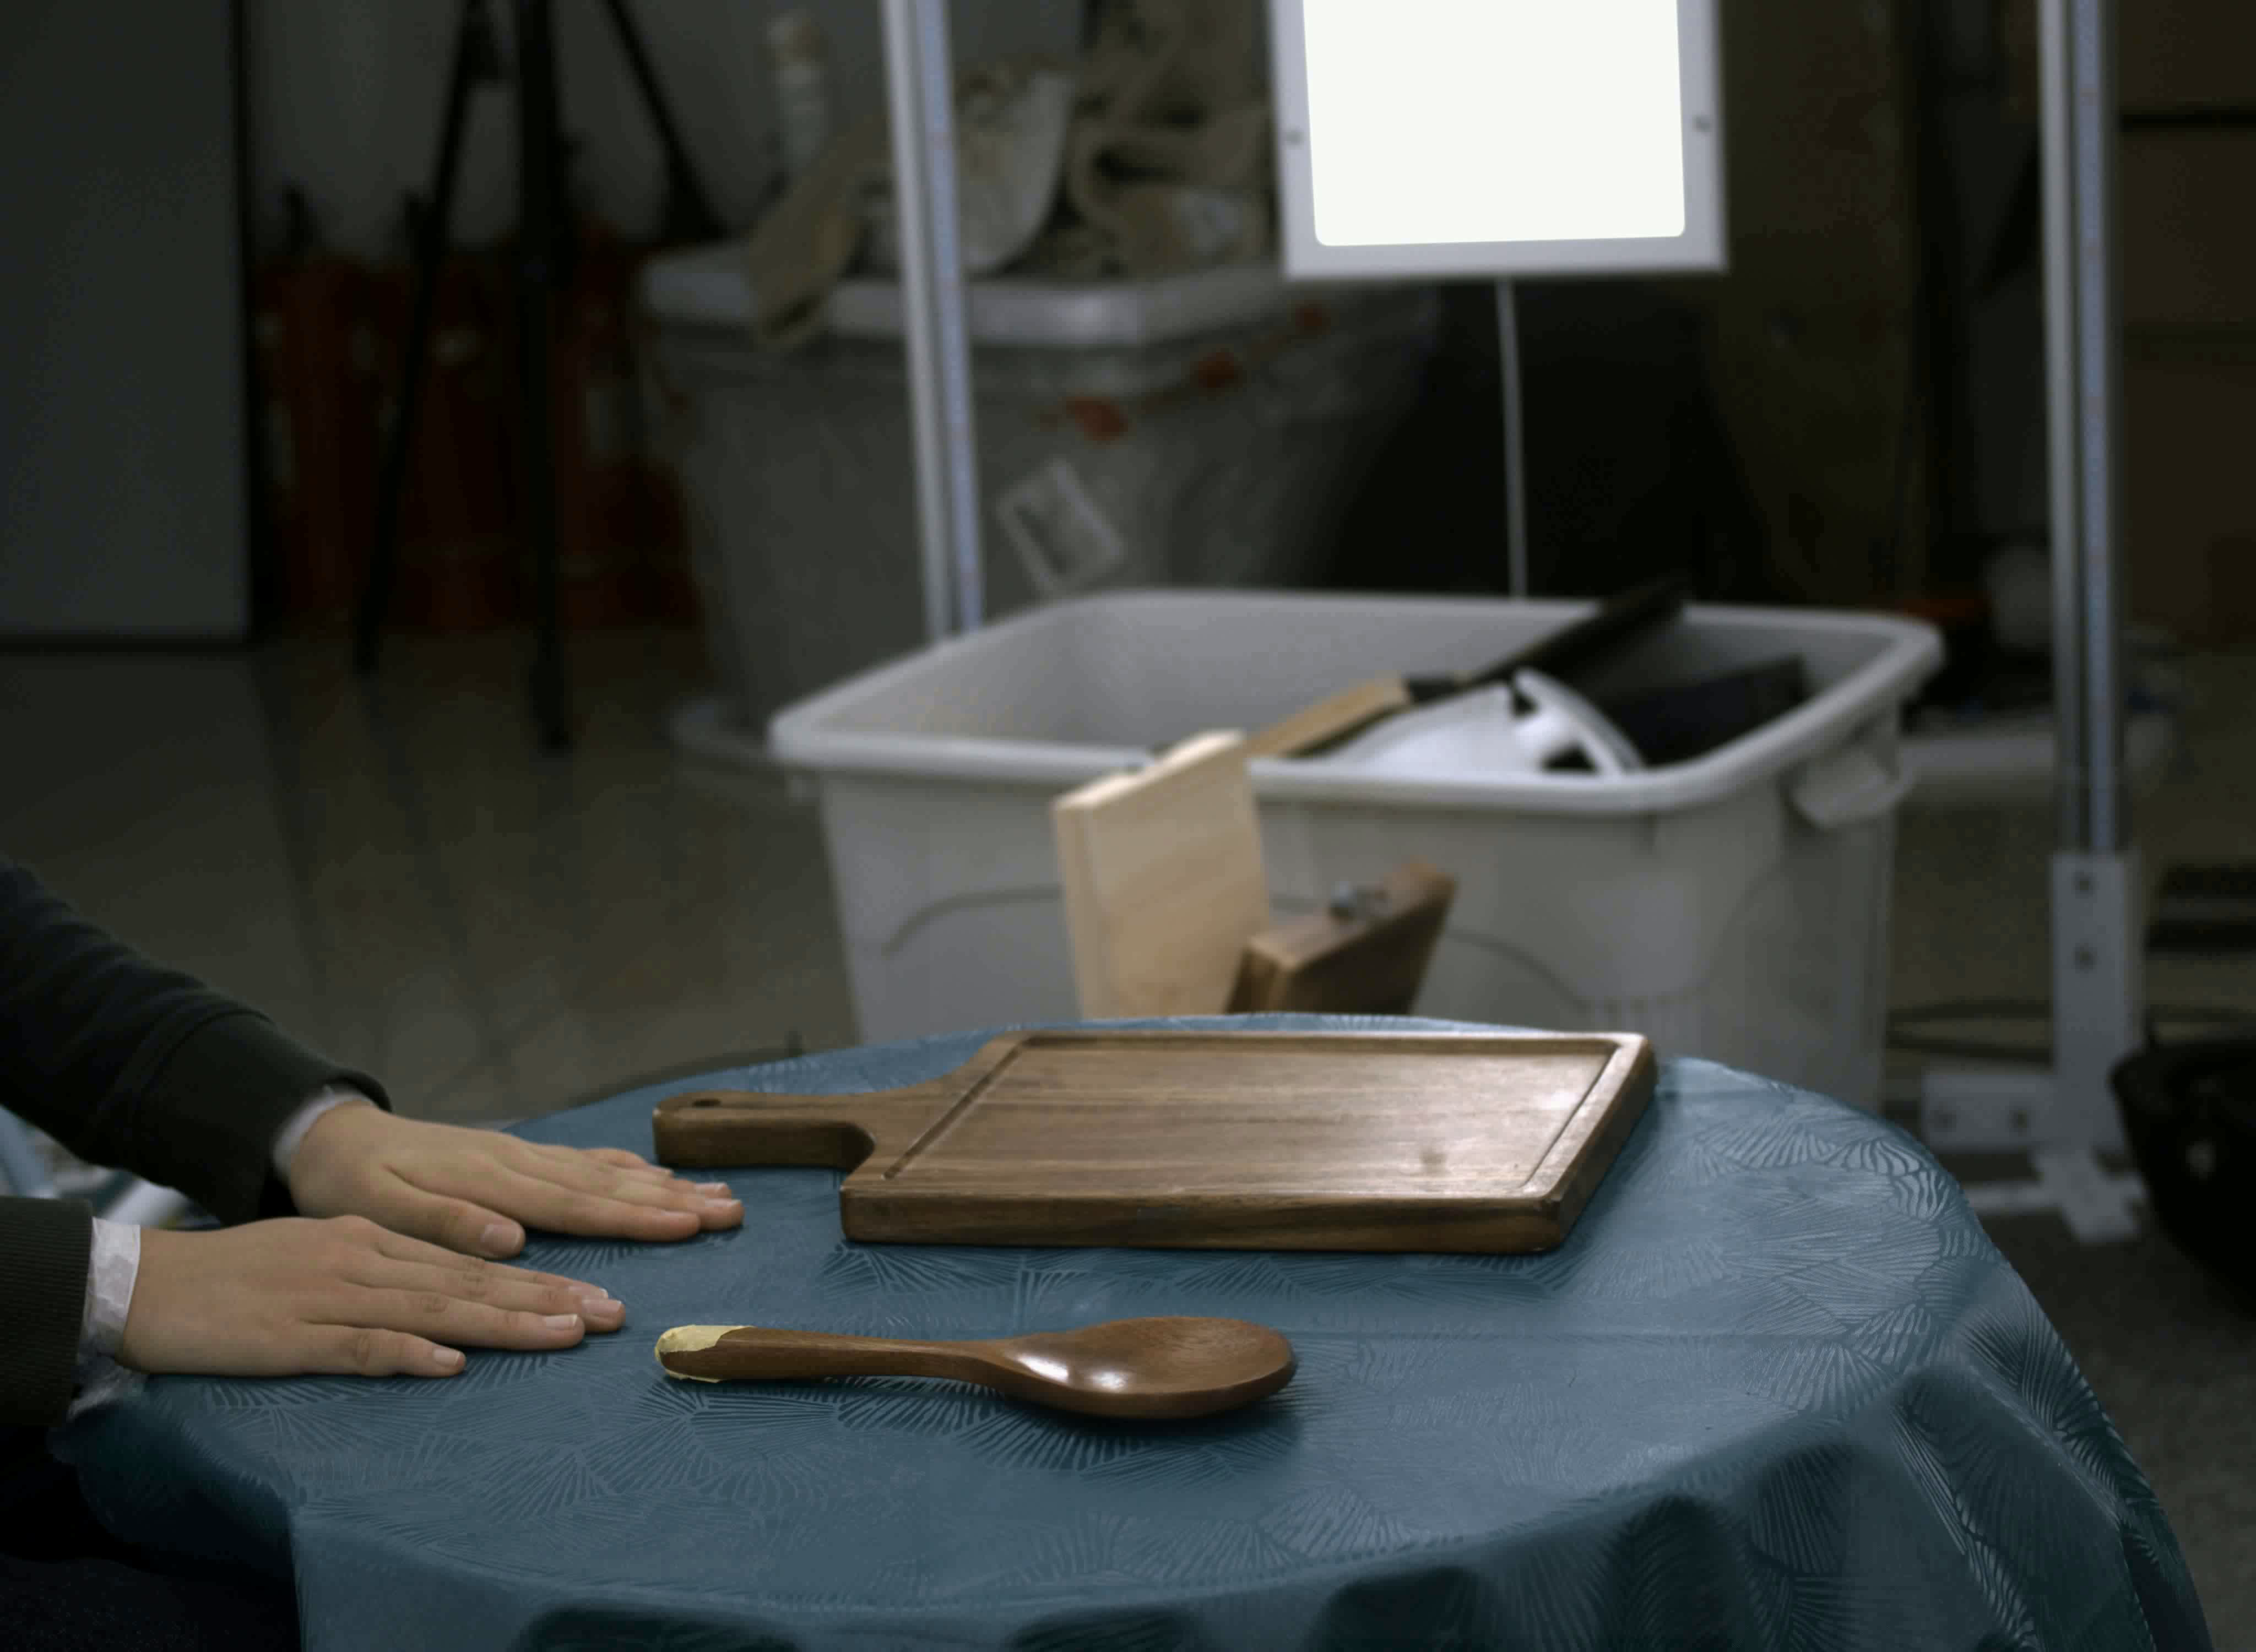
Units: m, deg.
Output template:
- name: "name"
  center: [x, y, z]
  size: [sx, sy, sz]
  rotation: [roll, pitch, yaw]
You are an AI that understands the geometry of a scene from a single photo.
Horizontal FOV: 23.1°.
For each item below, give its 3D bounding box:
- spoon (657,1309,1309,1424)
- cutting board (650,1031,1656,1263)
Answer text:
- name: "spoon"
  center: [-0.047, 0.166, 1.714]
  size: [0.219, 0.017, 0.074]
  rotation: [2, 17, 23]
- name: "cutting board"
  center: [-0.001, 0.109, 1.932]
  size: [0.356, 0.023, 0.198]
  rotation: [-1, 15, 18]
